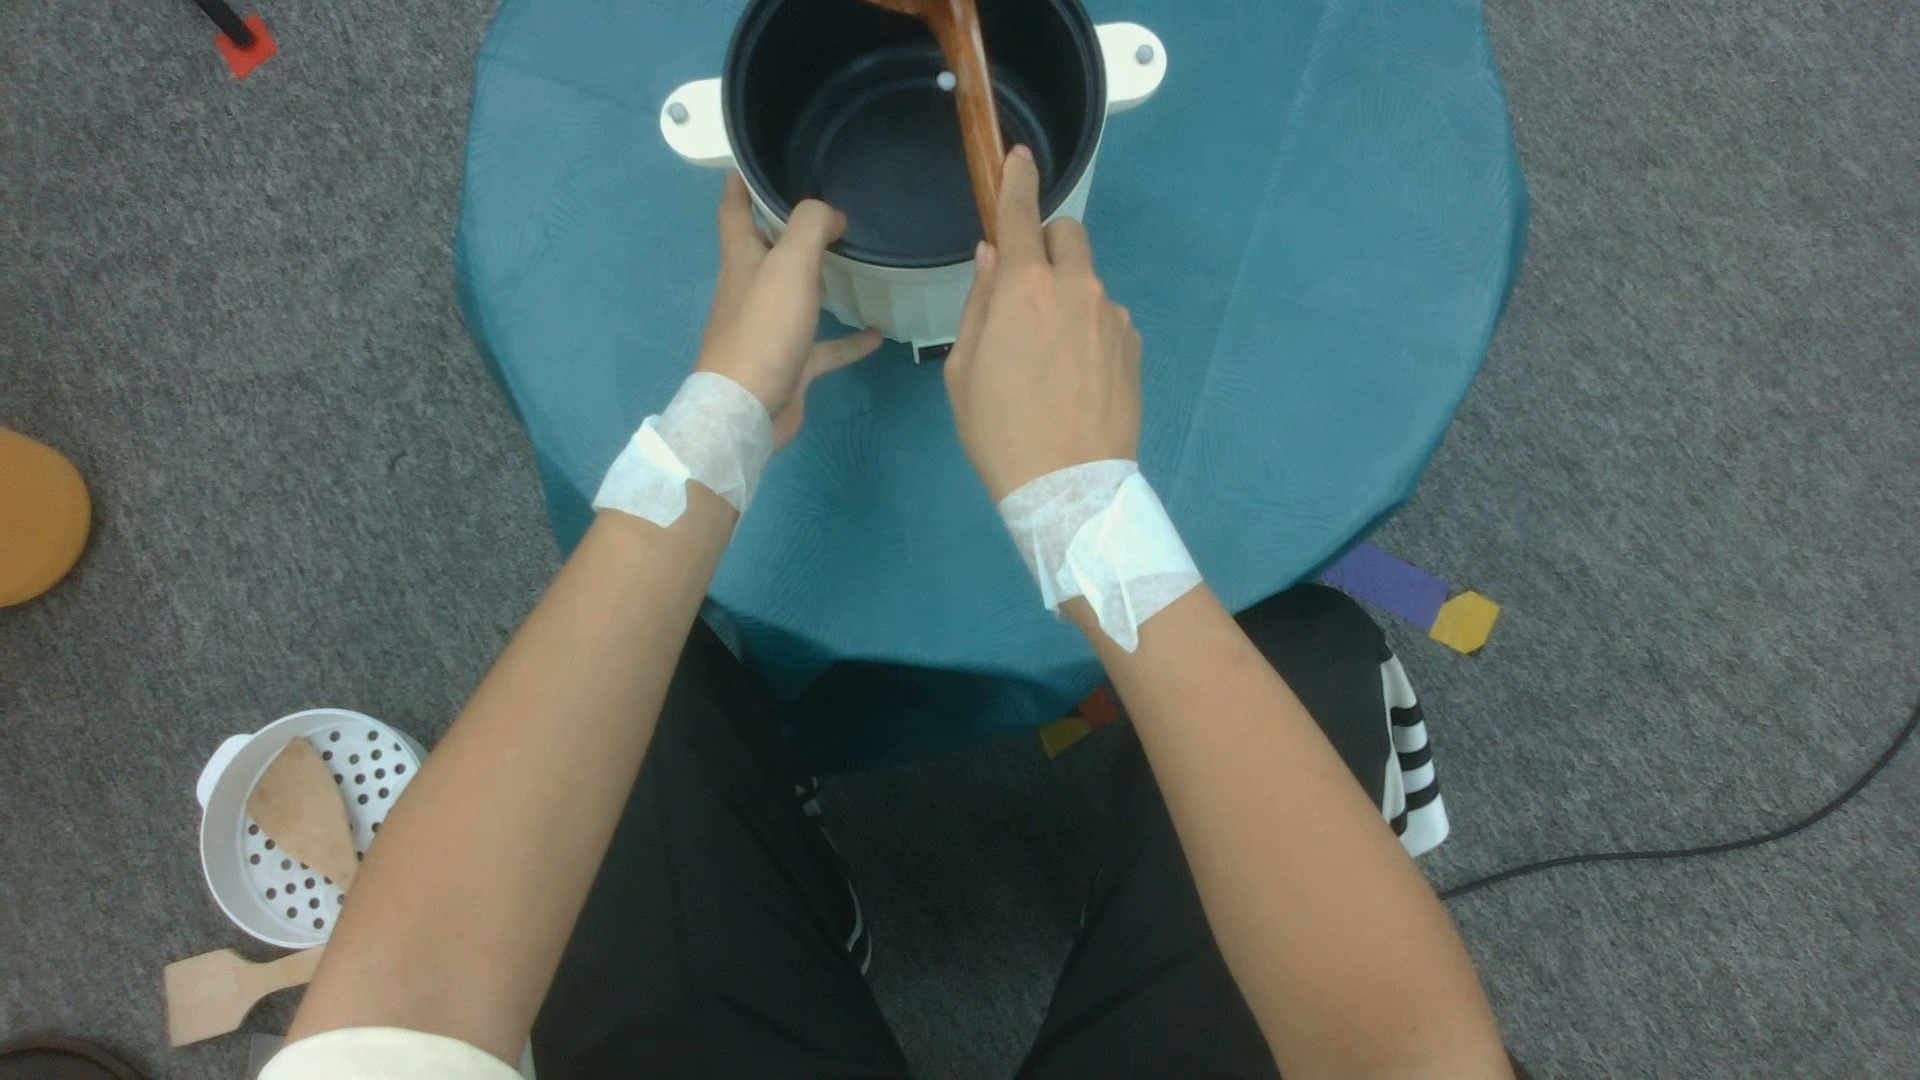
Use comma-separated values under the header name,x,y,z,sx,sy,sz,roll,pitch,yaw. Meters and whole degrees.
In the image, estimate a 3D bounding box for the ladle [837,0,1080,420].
name,x,y,z,sx,sy,sz,roll,pitch,yaw
ladle,-0.016,-0.179,0.623,0.077,0.081,0.274,-12,77,-11

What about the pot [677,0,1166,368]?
name,x,y,z,sx,sy,sz,roll,pitch,yaw
pot,-0.019,-0.200,0.728,0.240,0.142,0.191,-9,80,-2
